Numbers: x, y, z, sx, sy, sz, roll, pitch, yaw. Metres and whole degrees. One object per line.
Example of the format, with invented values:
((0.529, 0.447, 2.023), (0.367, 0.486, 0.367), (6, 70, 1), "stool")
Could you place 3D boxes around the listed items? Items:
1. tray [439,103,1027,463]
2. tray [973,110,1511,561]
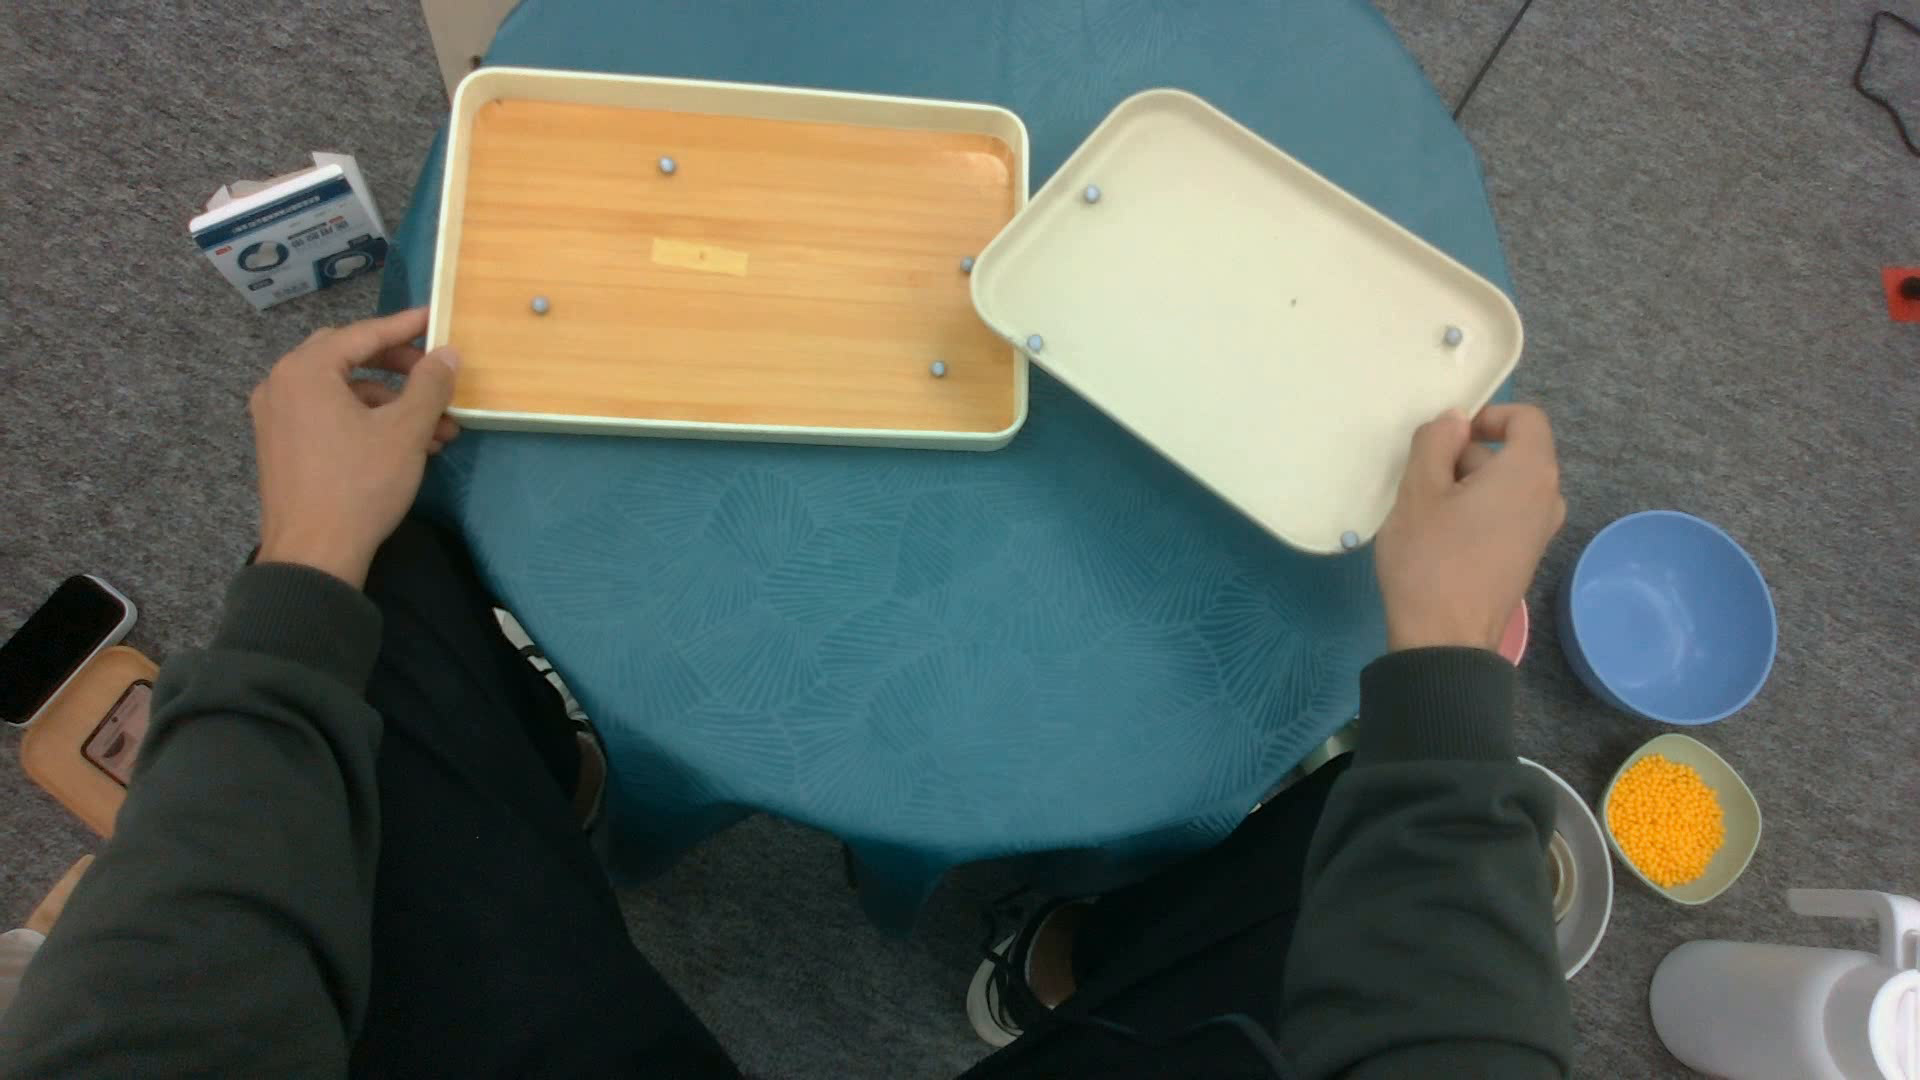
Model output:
((-0.115, -0.137, 0.737), (0.300, 0.027, 0.192), (1, 76, -6), "tray")
((0.139, -0.108, 0.696), (0.240, 0.017, 0.172), (38, 75, 16), "tray")
